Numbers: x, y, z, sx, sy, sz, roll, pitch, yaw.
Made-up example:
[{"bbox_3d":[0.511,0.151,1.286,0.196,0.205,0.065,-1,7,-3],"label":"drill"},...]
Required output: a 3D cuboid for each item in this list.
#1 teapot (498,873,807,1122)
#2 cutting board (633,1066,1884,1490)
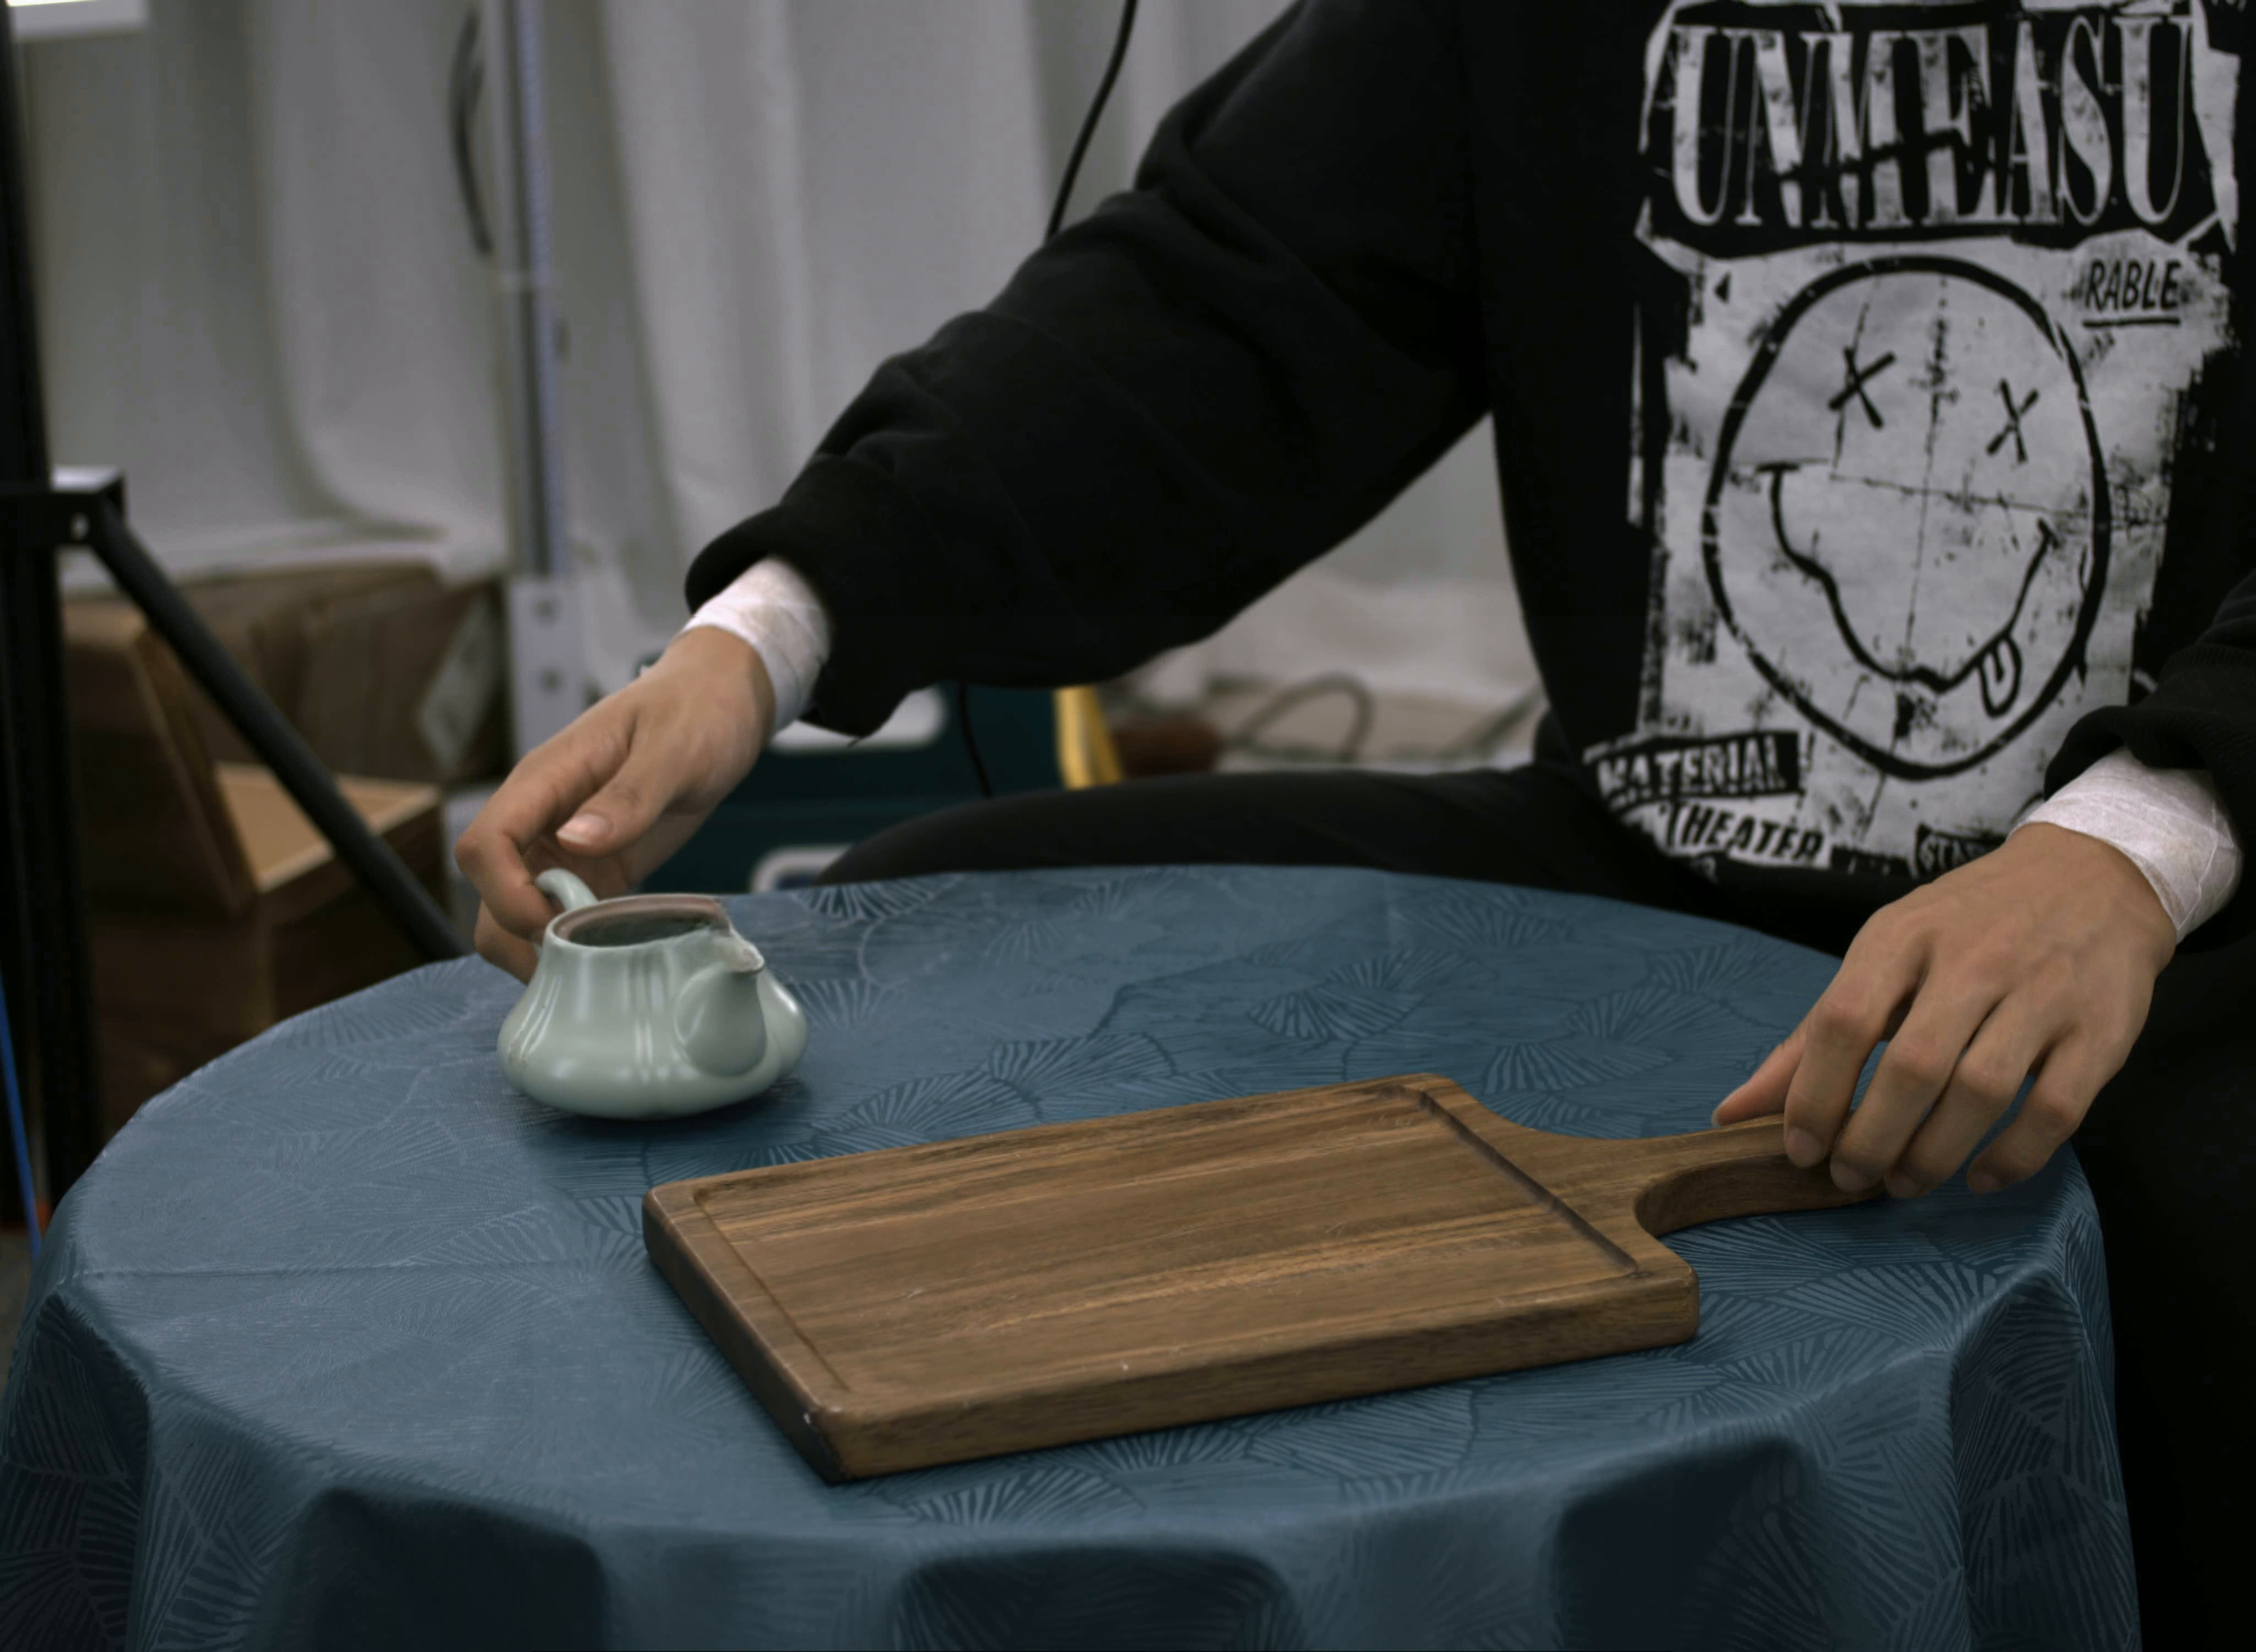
[{"bbox_3d":[-0.151,0.054,1.660,0.094,0.061,0.140,-15,20,-35],"label":"teapot"},{"bbox_3d":[0.054,0.114,1.483,0.346,0.023,0.204,-8,17,-17],"label":"cutting board"}]
